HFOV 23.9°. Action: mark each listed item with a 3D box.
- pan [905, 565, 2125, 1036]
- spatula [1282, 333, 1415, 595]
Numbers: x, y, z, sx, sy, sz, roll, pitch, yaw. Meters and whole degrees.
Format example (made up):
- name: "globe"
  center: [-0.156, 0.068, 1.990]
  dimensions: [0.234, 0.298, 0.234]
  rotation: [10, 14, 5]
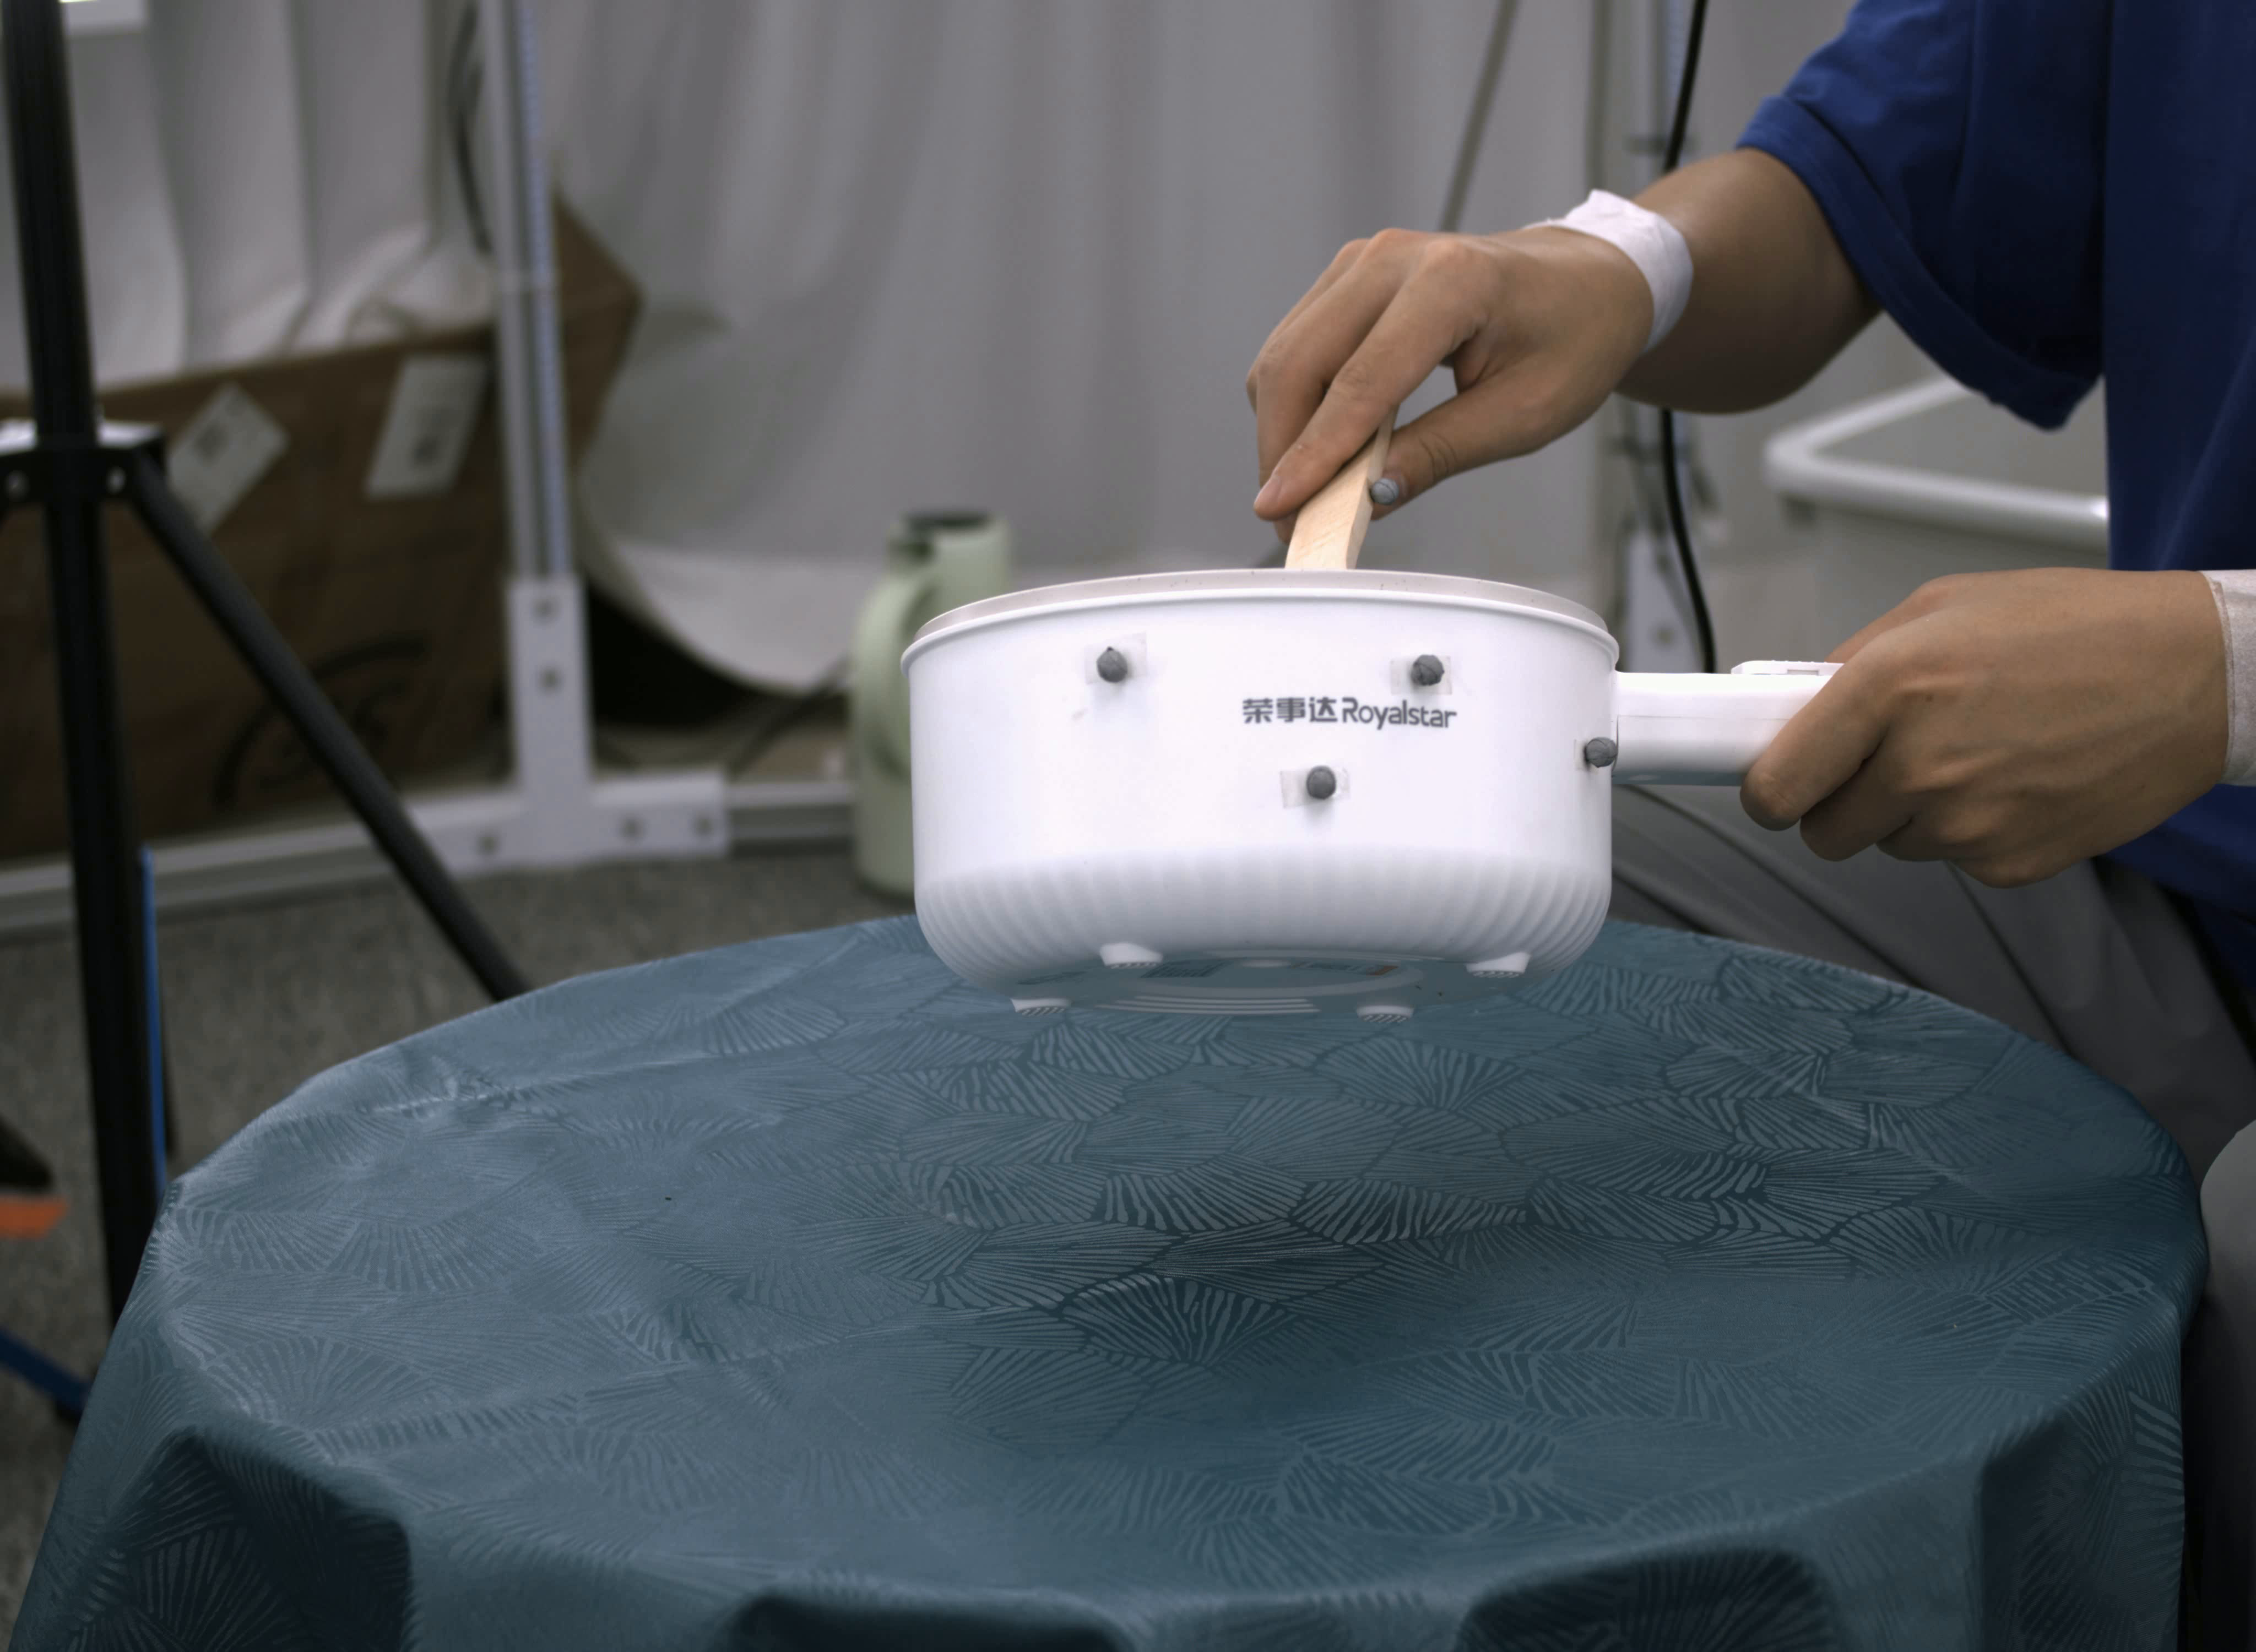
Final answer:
- name: "pan"
  center: [0.112, 0.002, 1.494]
  dimensions: [0.349, 0.103, 0.202]
  rotation: [2, -12, -13]
- name: "spatula"
  center: [0.061, -0.083, 1.586]
  dimensions: [0.073, 0.010, 0.293]
  rotation: [-31, 20, 23]
